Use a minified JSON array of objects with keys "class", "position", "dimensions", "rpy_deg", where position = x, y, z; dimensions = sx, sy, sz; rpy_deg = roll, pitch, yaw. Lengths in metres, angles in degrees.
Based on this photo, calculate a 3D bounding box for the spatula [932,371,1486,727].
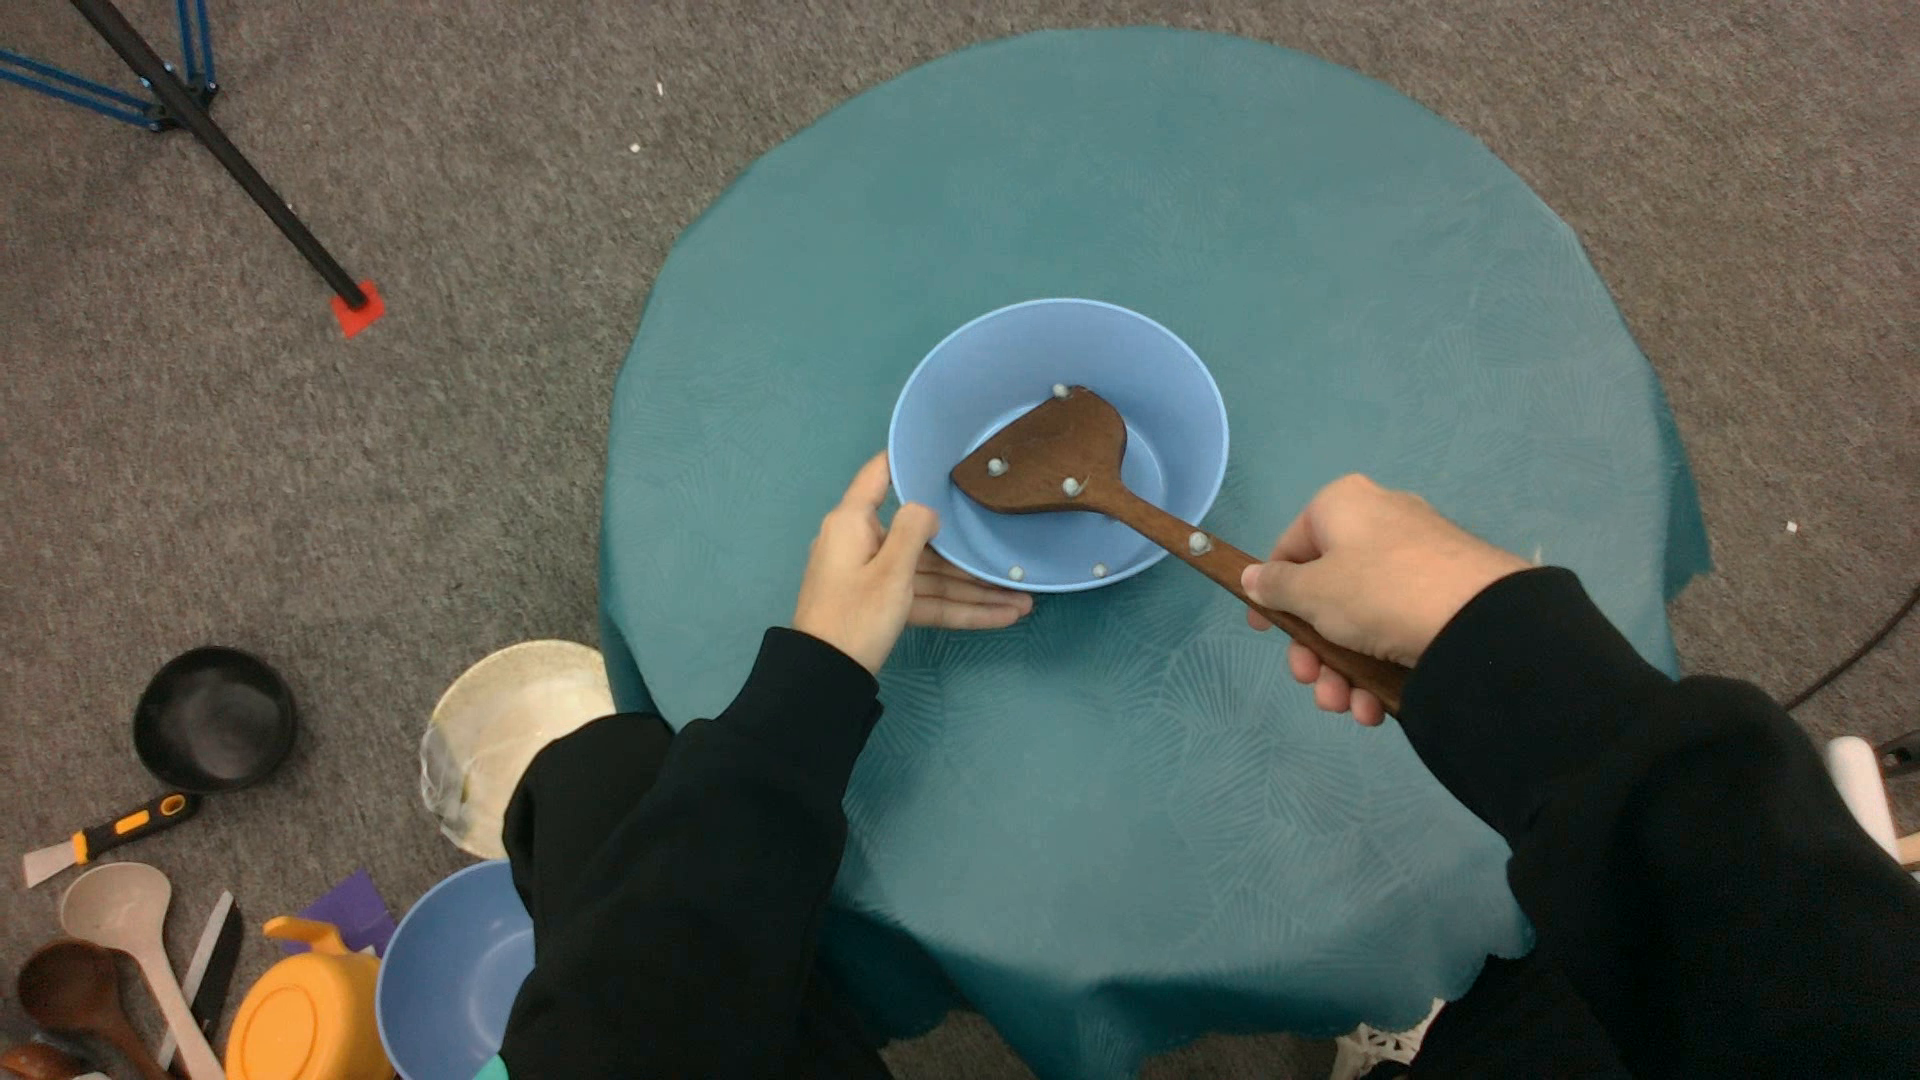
[{"class":"spatula","position":[0.094,-0.008,0.622],"dimensions":[0.096,0.016,0.386],"rpy_deg":[-35,29,-9]}]

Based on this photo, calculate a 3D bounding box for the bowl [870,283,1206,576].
[{"class":"bowl","position":[0.041,-0.048,0.743],"dimensions":[0.176,0.070,0.176],"rpy_deg":[0,63,1]}]
